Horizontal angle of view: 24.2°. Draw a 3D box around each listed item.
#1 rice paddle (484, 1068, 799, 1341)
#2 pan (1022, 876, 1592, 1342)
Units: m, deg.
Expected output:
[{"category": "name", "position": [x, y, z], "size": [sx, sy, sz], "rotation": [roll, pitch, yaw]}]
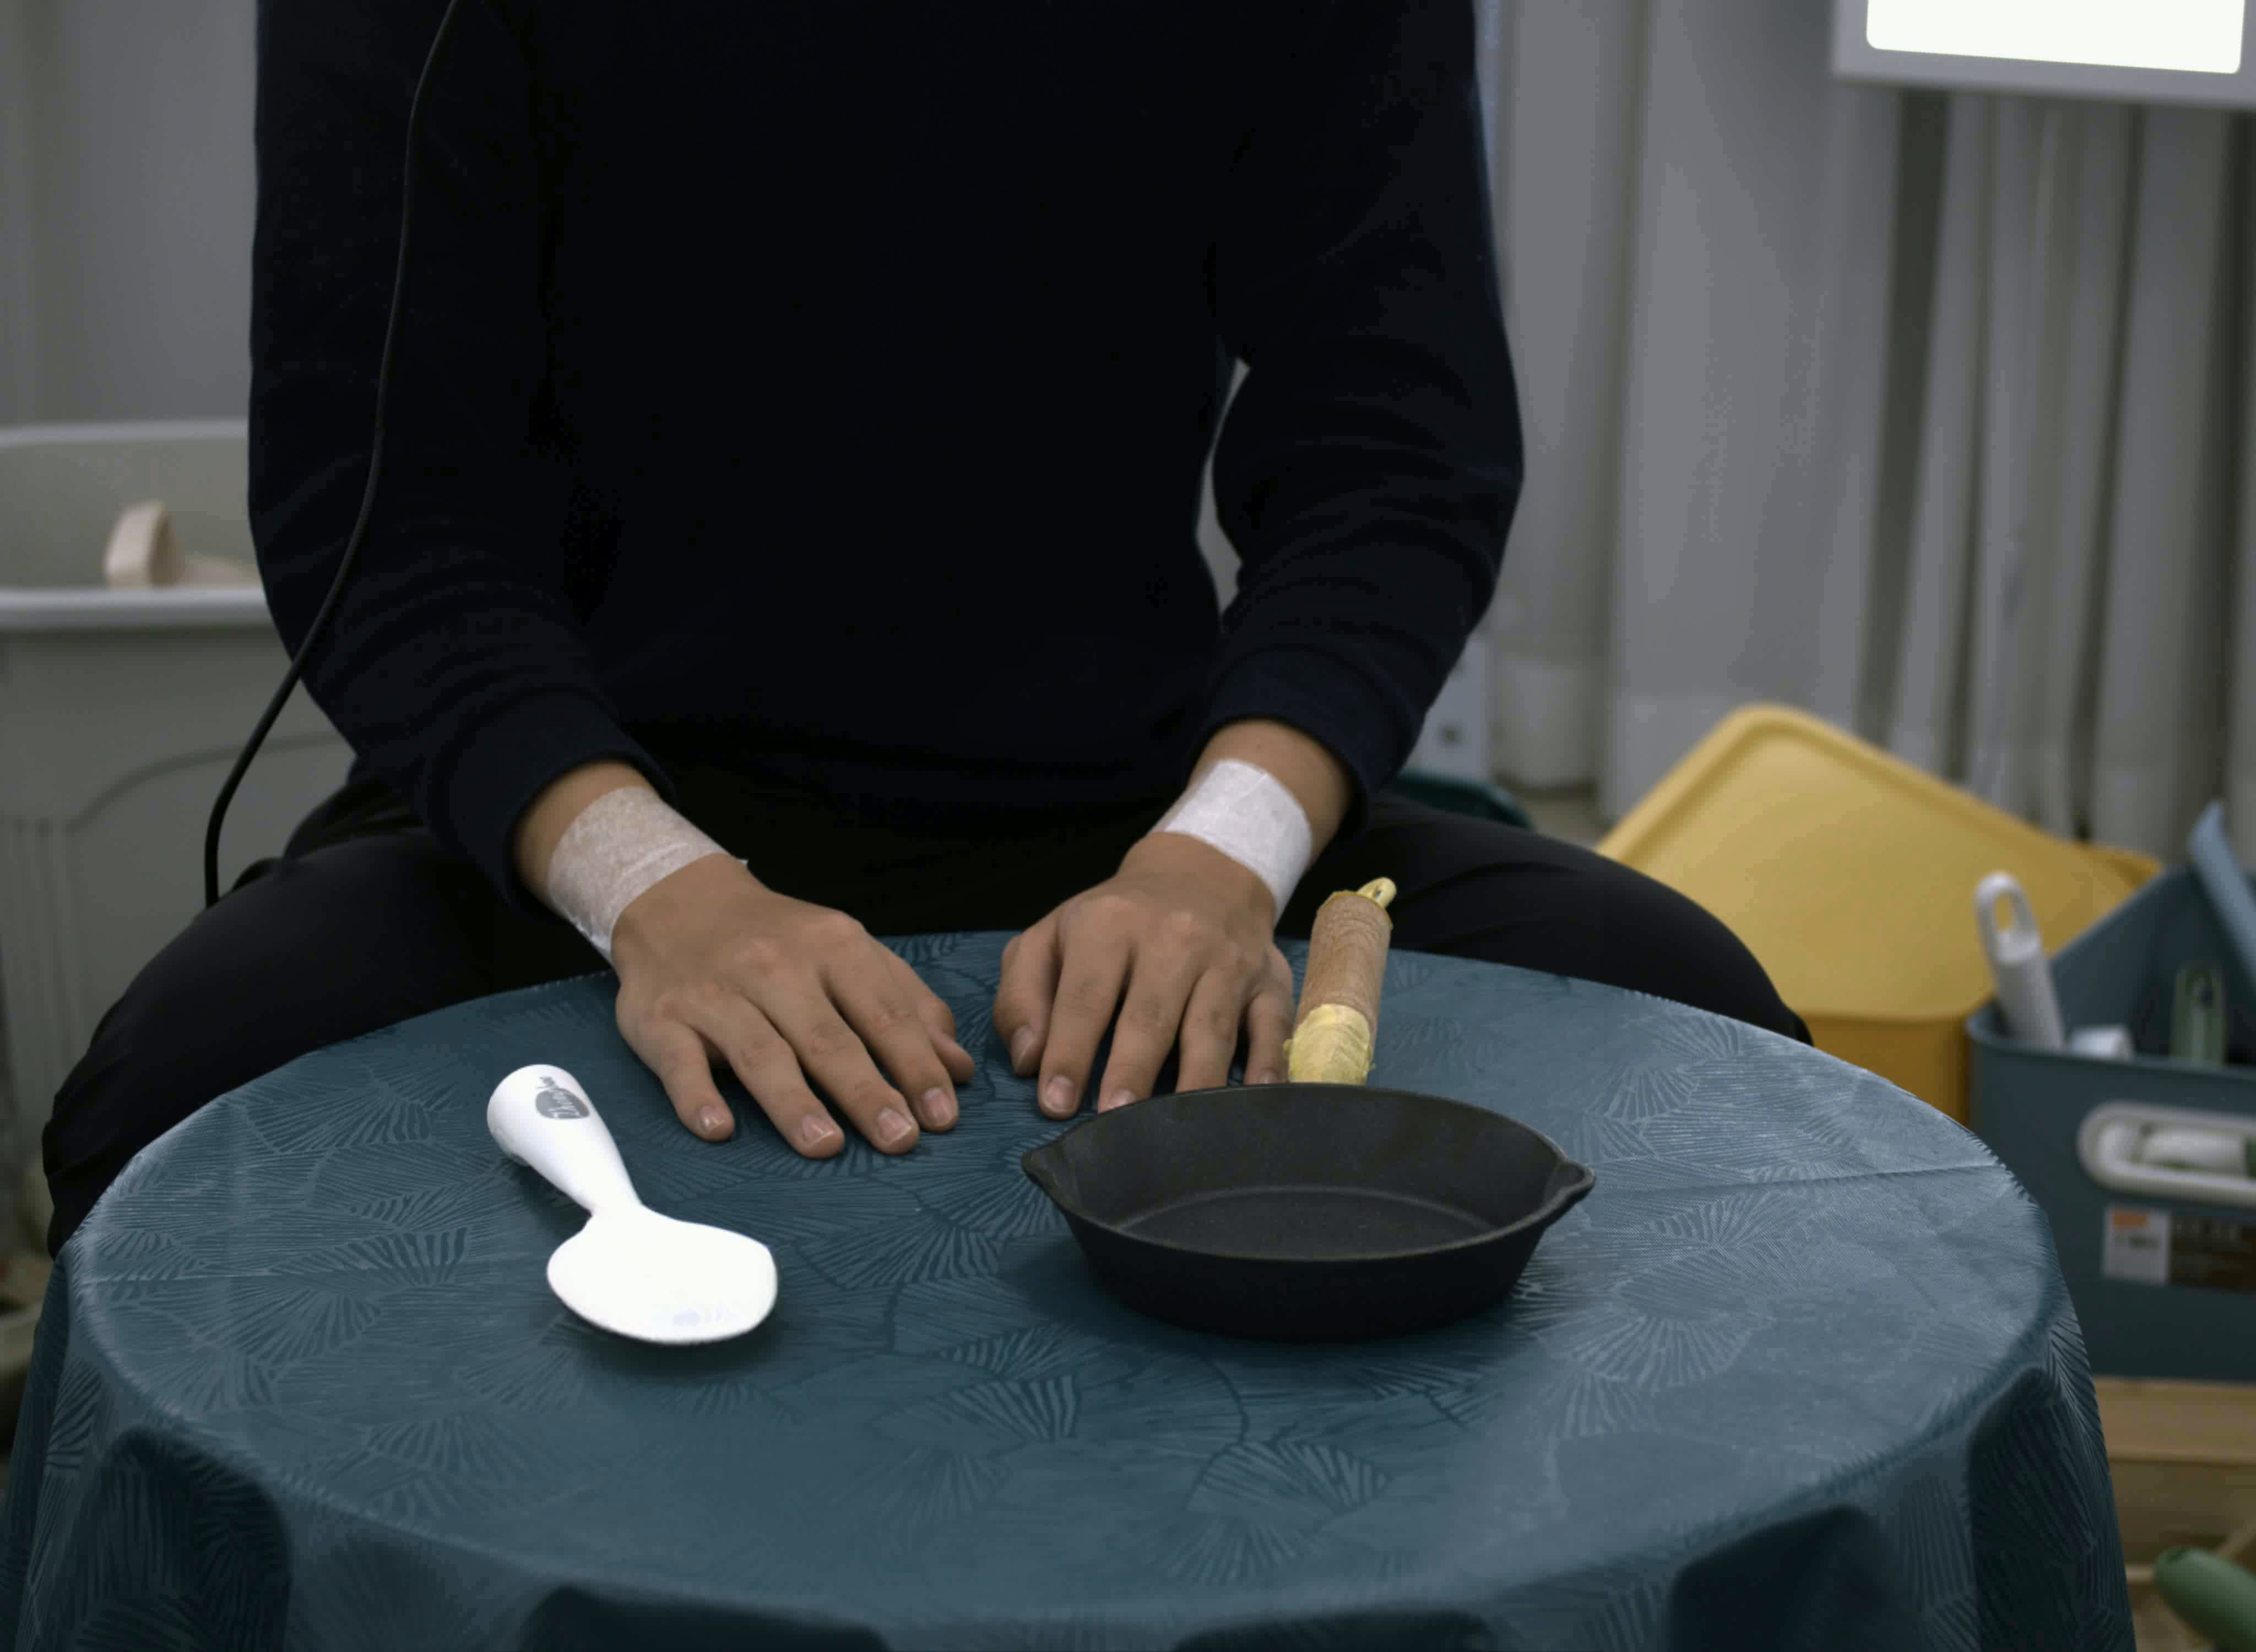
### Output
[{"category": "rice paddle", "position": [-0.150, 0.114, 1.558], "size": [0.069, 0.029, 0.203], "rotation": [-7, 17, -20]}, {"category": "pan", "position": [0.063, 0.084, 1.631], "size": [0.168, 0.050, 0.323], "rotation": [2, 17, 7]}]
